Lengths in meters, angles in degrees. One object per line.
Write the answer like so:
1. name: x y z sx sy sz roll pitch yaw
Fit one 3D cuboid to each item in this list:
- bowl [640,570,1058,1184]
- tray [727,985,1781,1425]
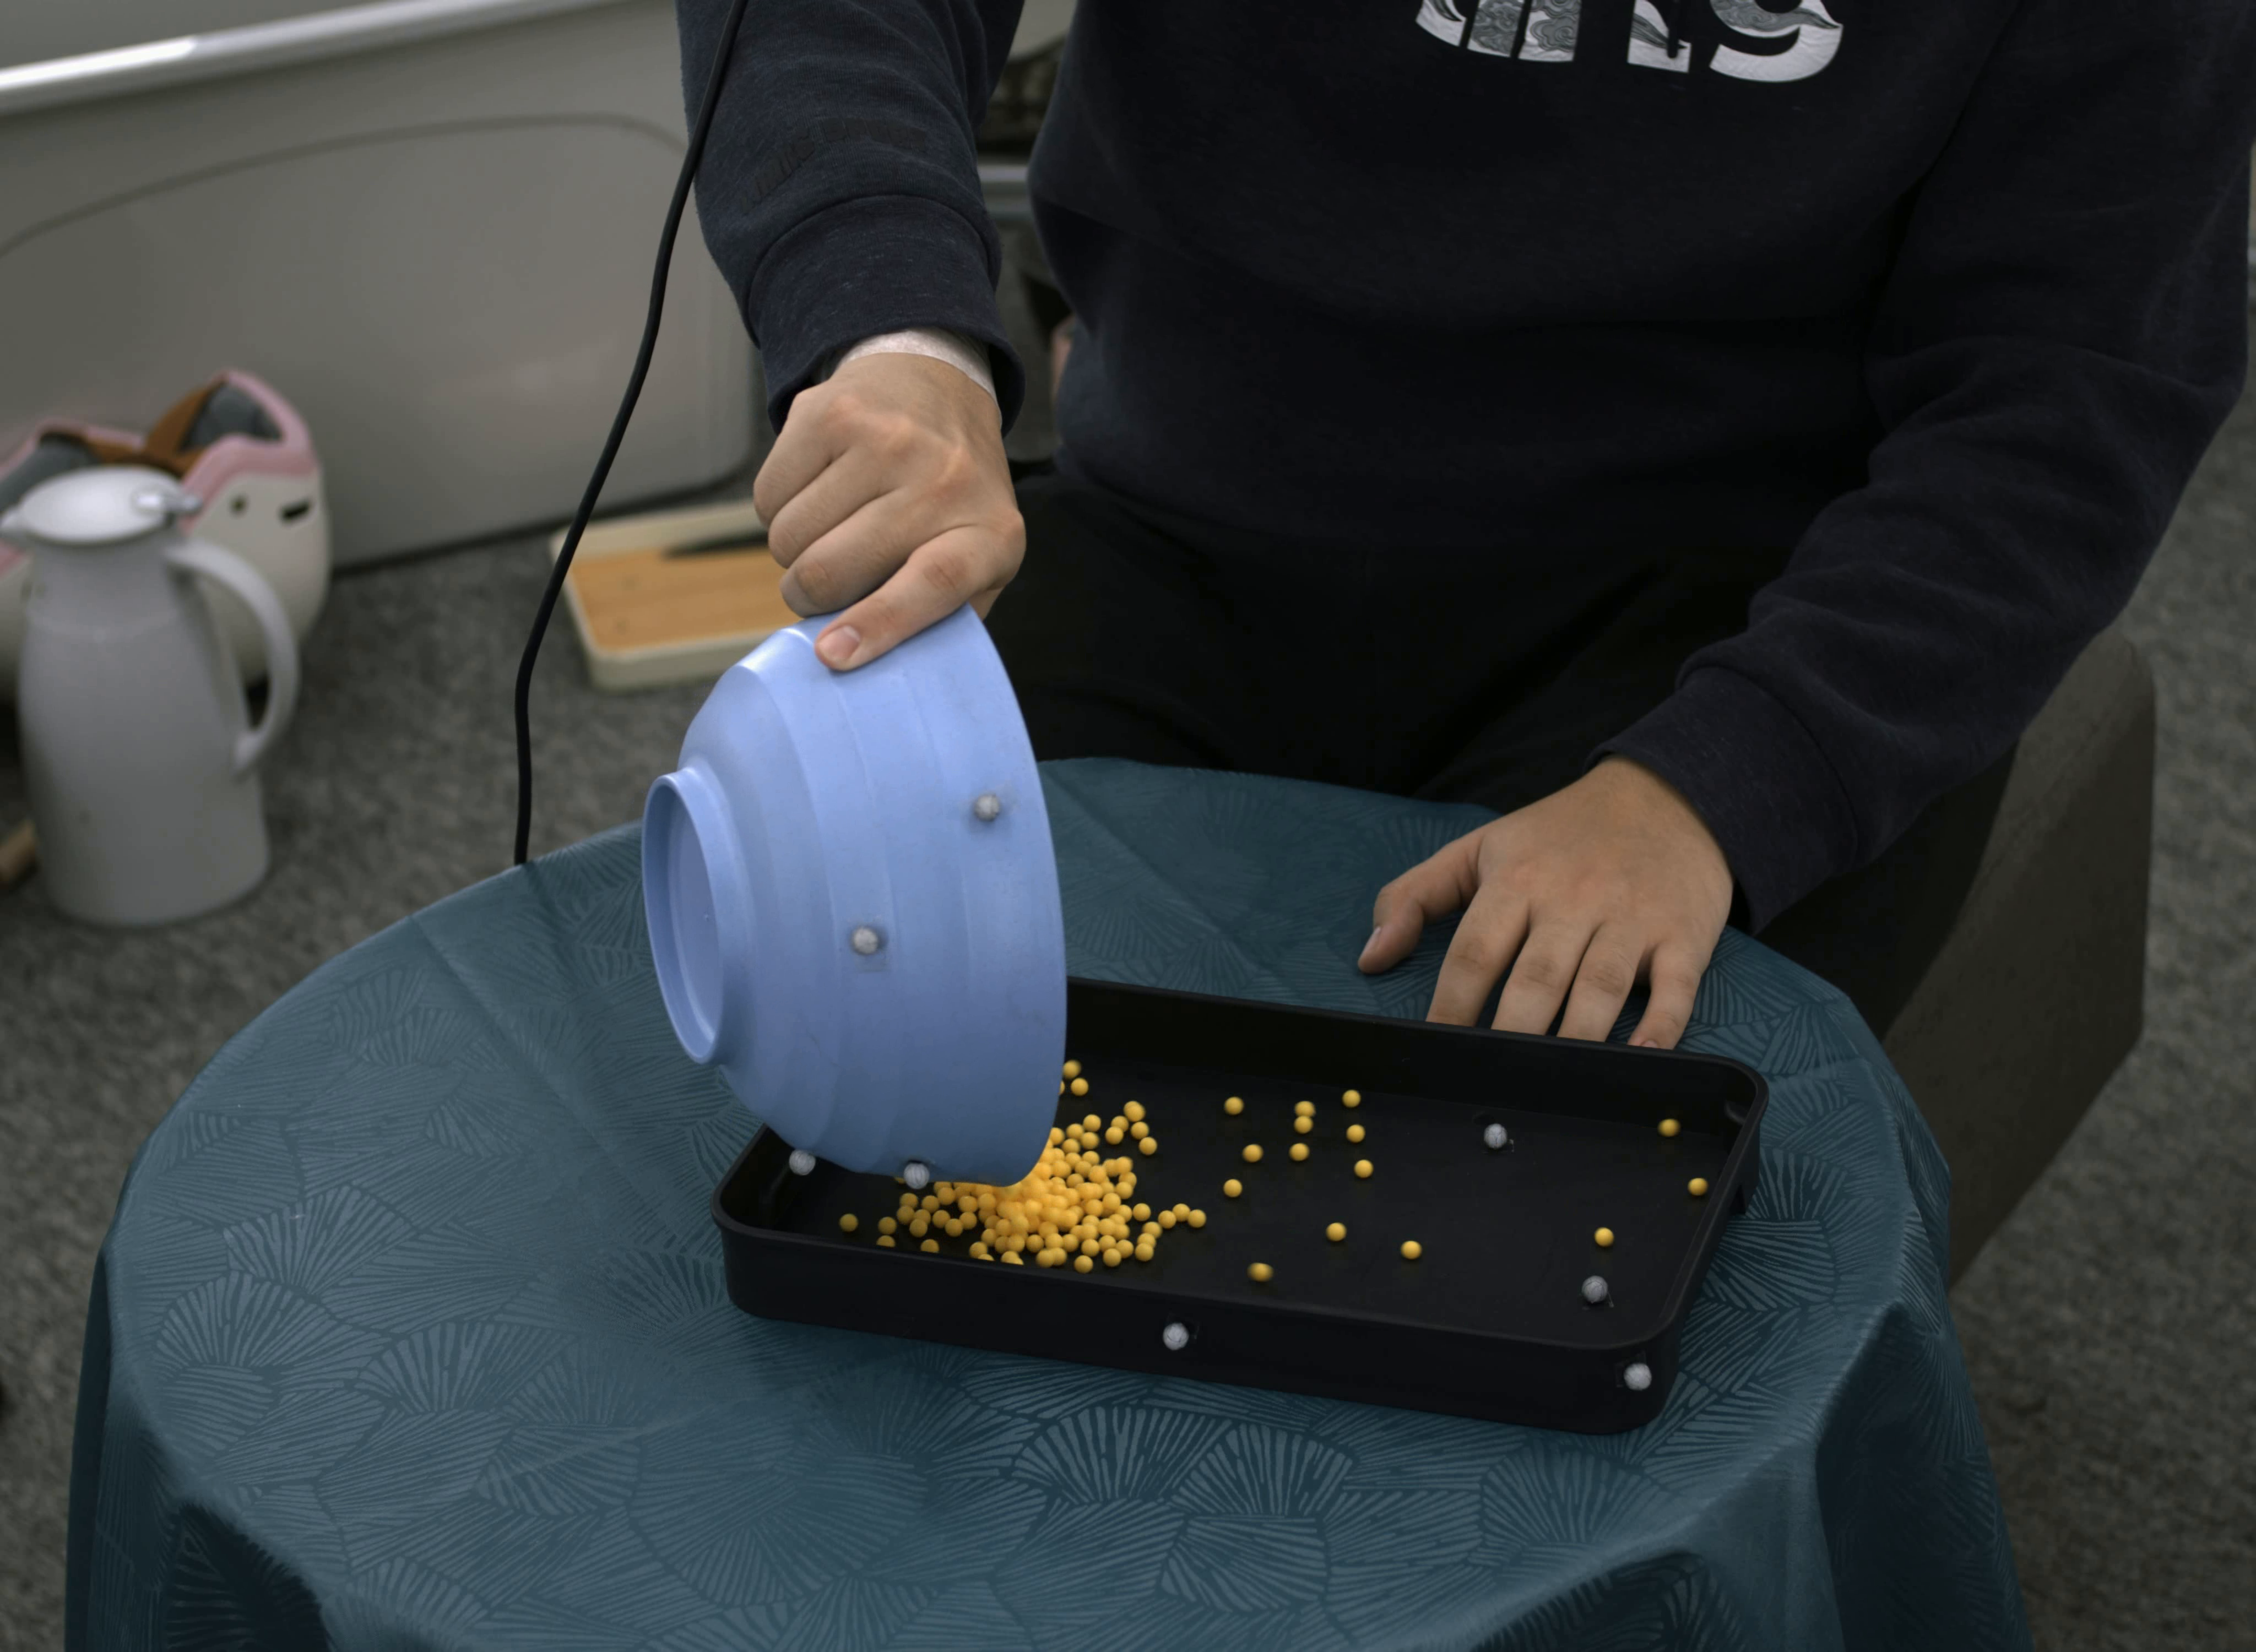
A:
1. bowl: -0.097 0.022 1.770 0.095 0.194 0.198 -8 27 -18
2. tray: 0.043 0.119 1.831 0.316 0.036 0.187 5 28 16
